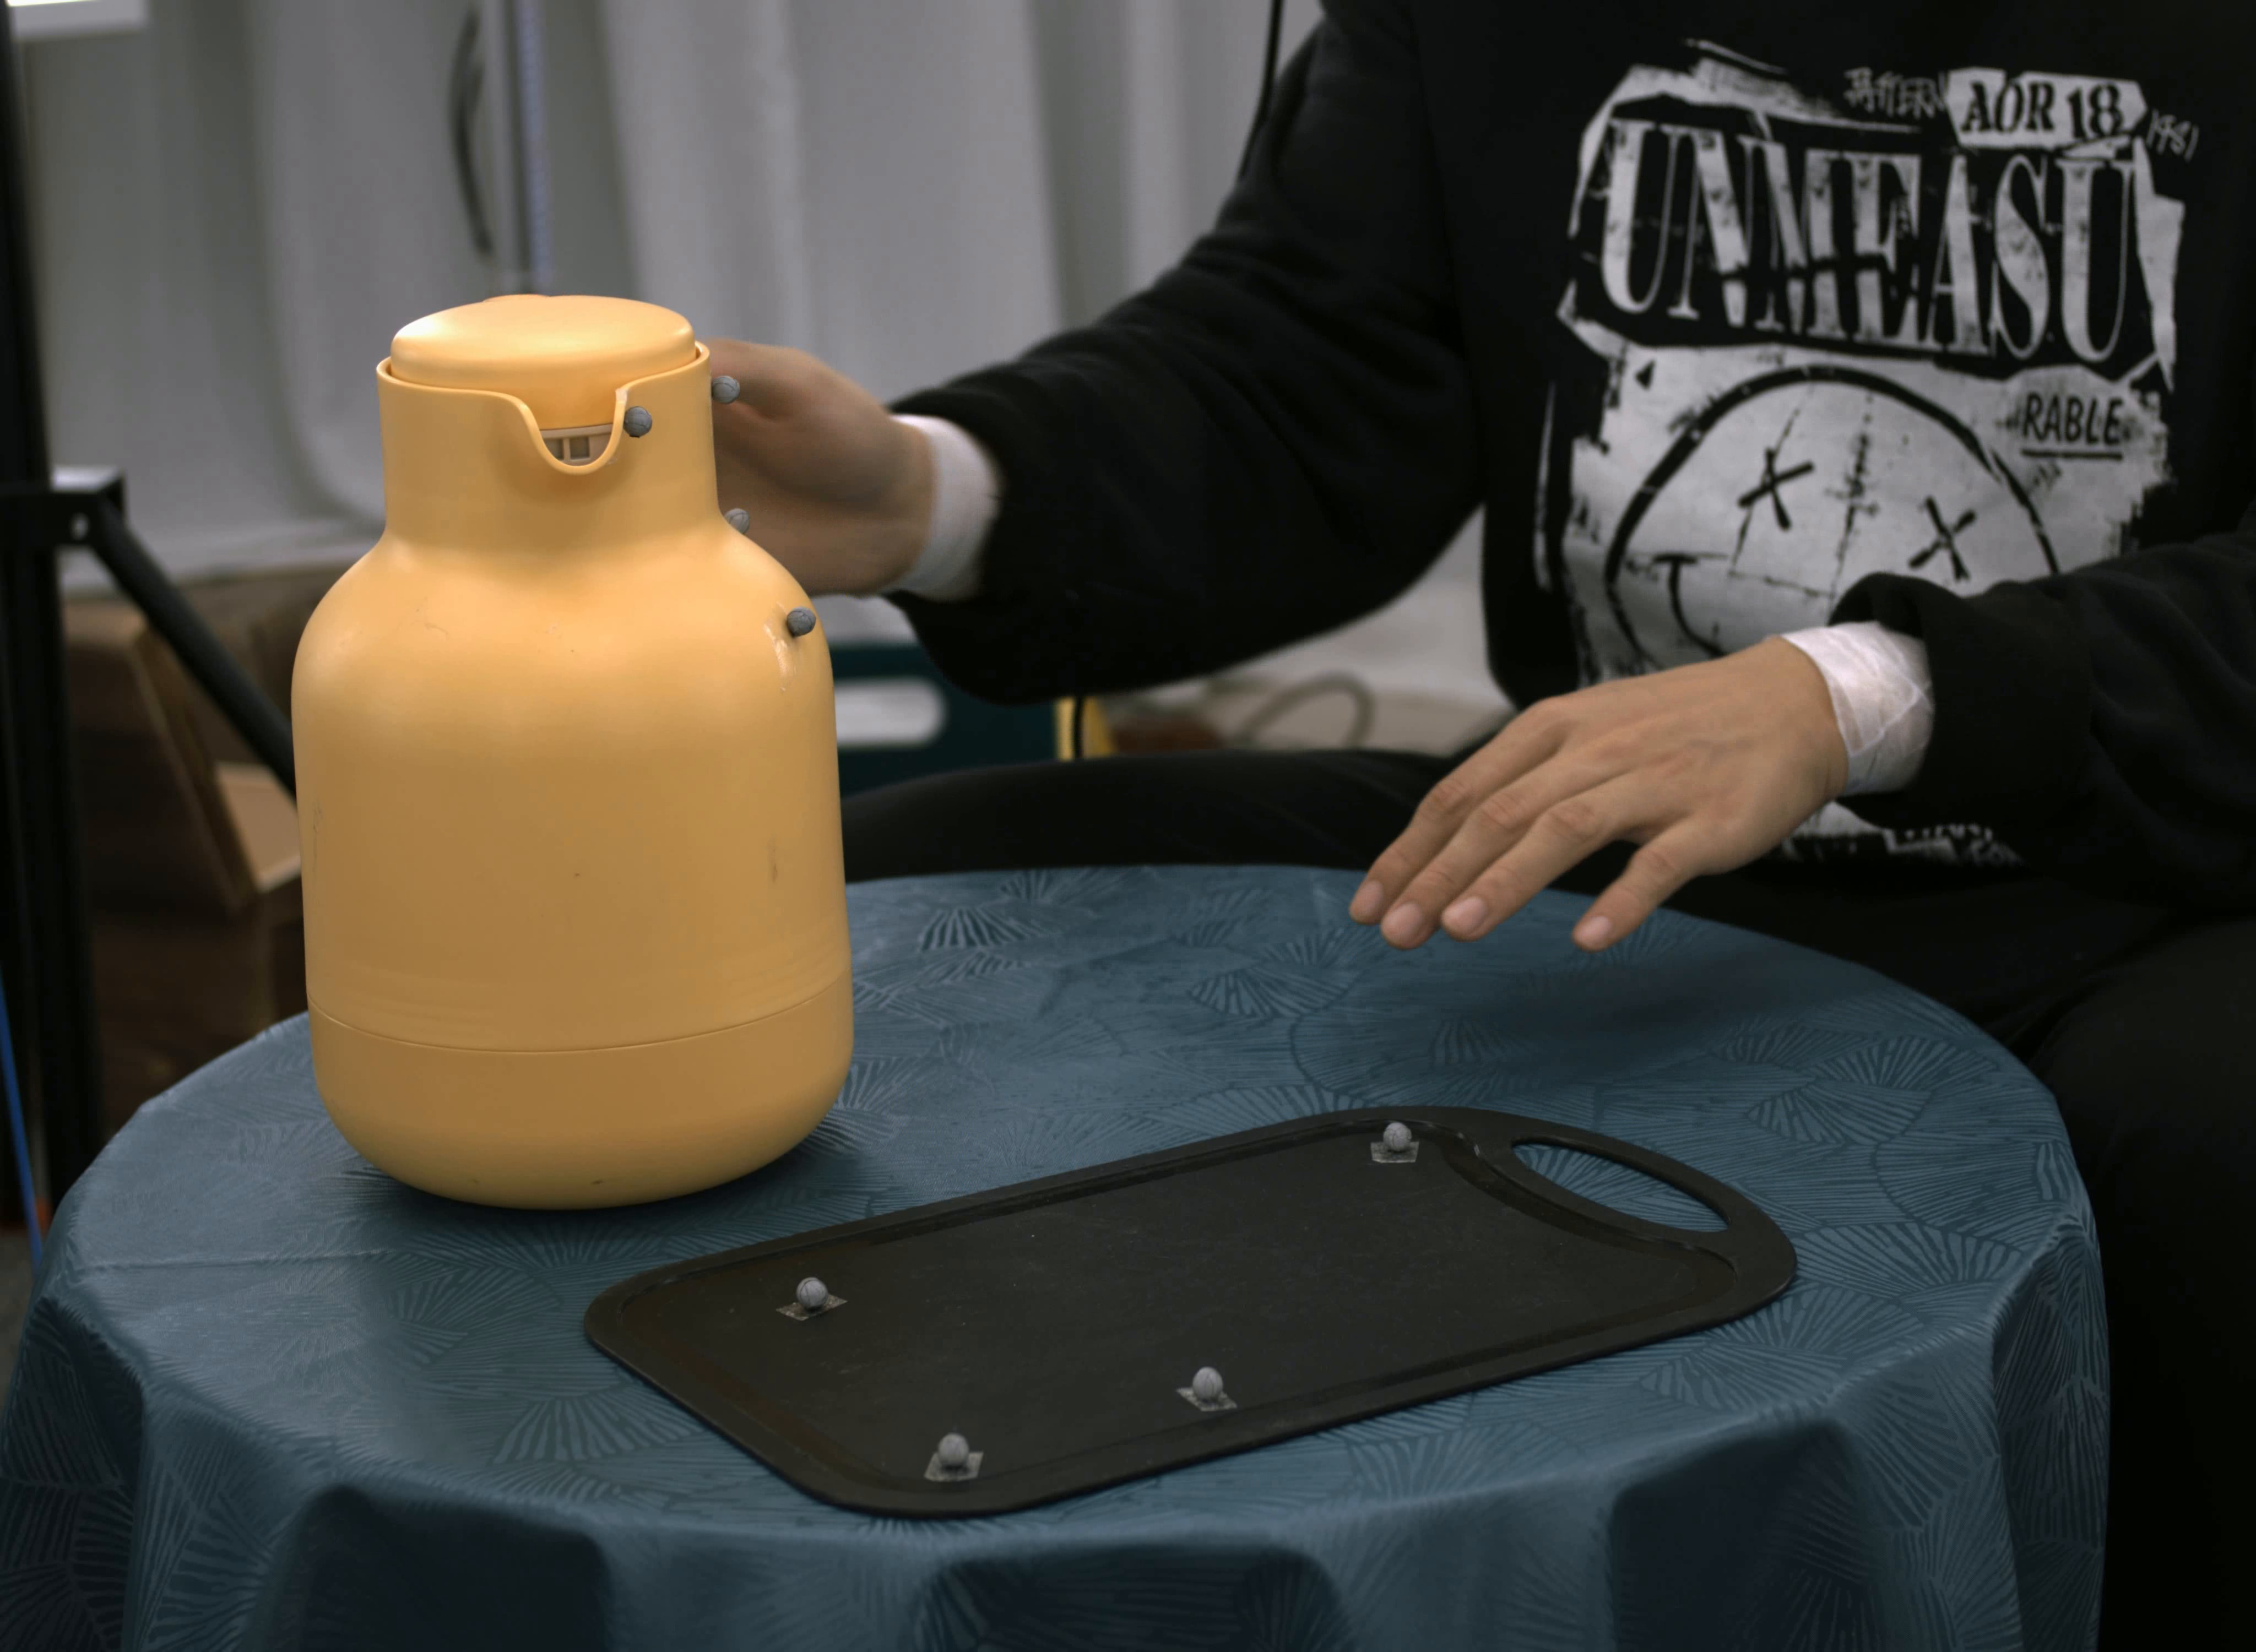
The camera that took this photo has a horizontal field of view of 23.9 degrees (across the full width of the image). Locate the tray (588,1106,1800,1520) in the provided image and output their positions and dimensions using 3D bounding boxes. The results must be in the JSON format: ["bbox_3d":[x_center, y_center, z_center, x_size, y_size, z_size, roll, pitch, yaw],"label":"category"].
[{"bbox_3d":[0.025,0.127,1.472,0.318,0.010,0.215,-11,18,-27],"label":"tray"}]

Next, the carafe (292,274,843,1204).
[{"bbox_3d":[-0.169,-0.034,1.602,0.161,0.260,0.205,-2,17,-9],"label":"carafe"}]
